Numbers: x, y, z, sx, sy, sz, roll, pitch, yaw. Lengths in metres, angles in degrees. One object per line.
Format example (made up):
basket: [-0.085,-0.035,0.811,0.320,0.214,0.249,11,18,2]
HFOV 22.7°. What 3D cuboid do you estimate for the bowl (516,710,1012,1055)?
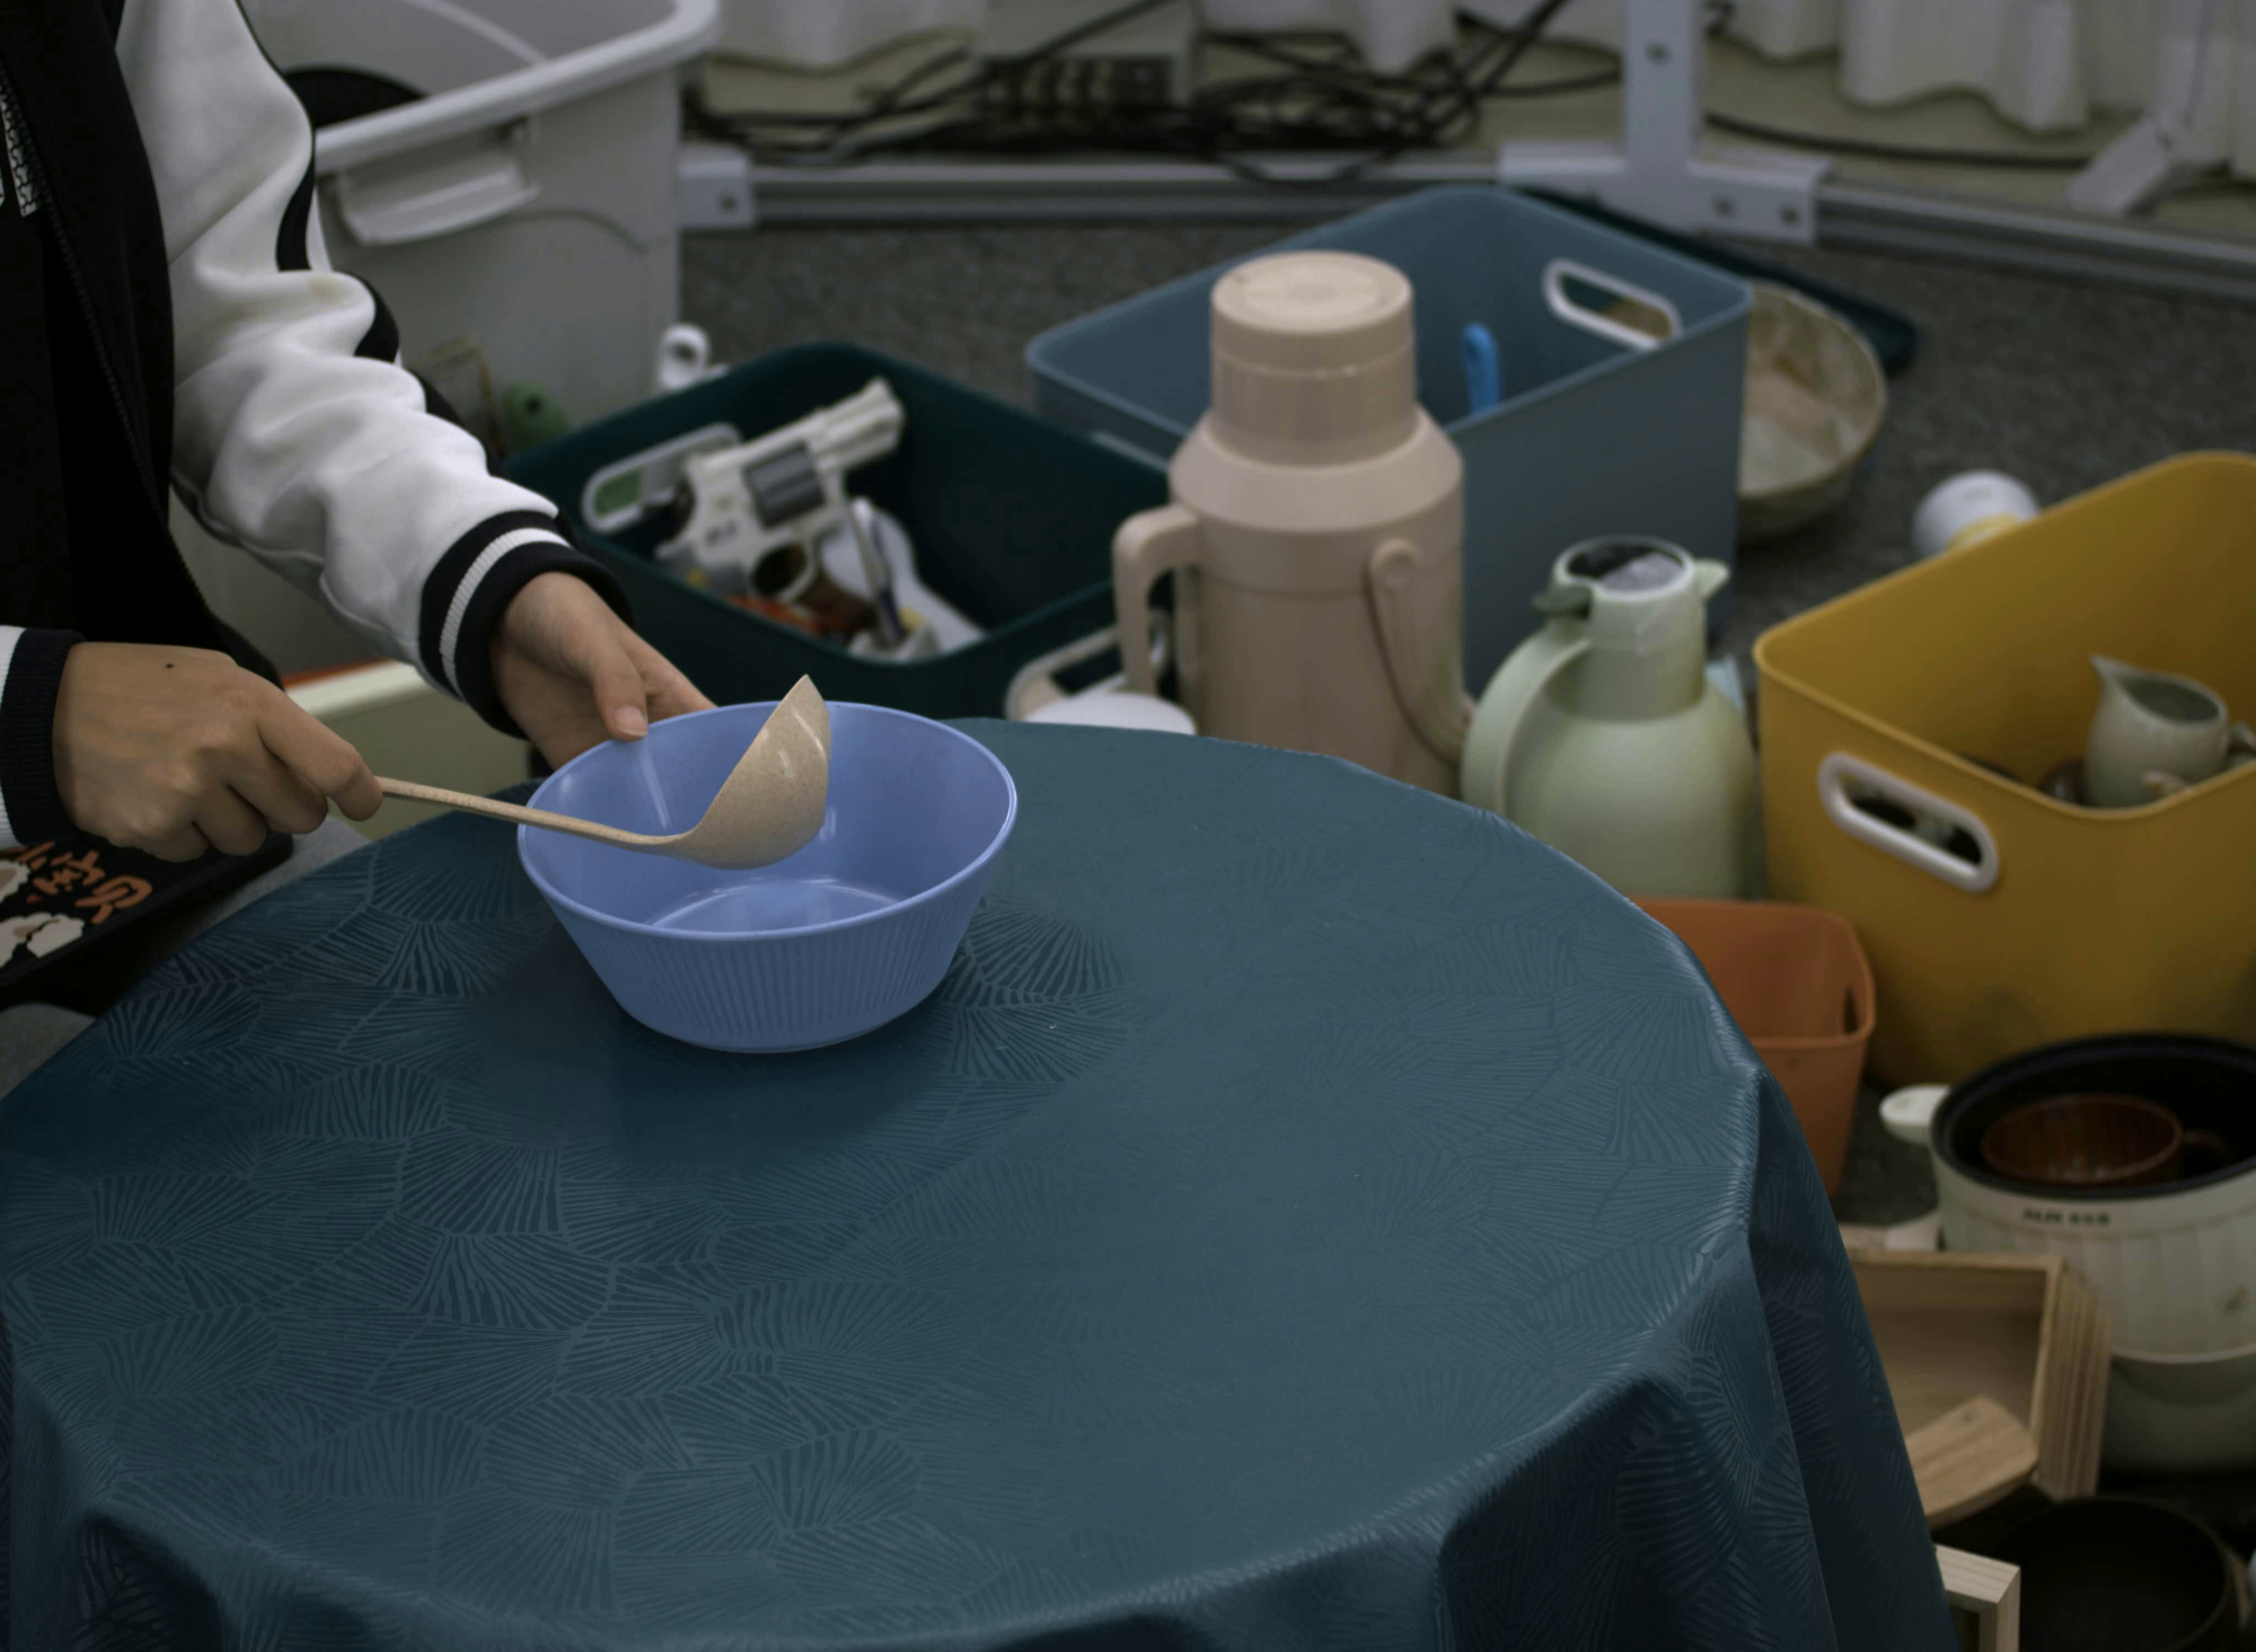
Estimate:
bowl: [-0.126,0.026,1.985,0.175,0.069,0.179,-2,26,1]

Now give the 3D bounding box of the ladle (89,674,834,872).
ladle: [-0.227,-0.034,1.951,0.253,0.073,0.071,9,-11,-6]
